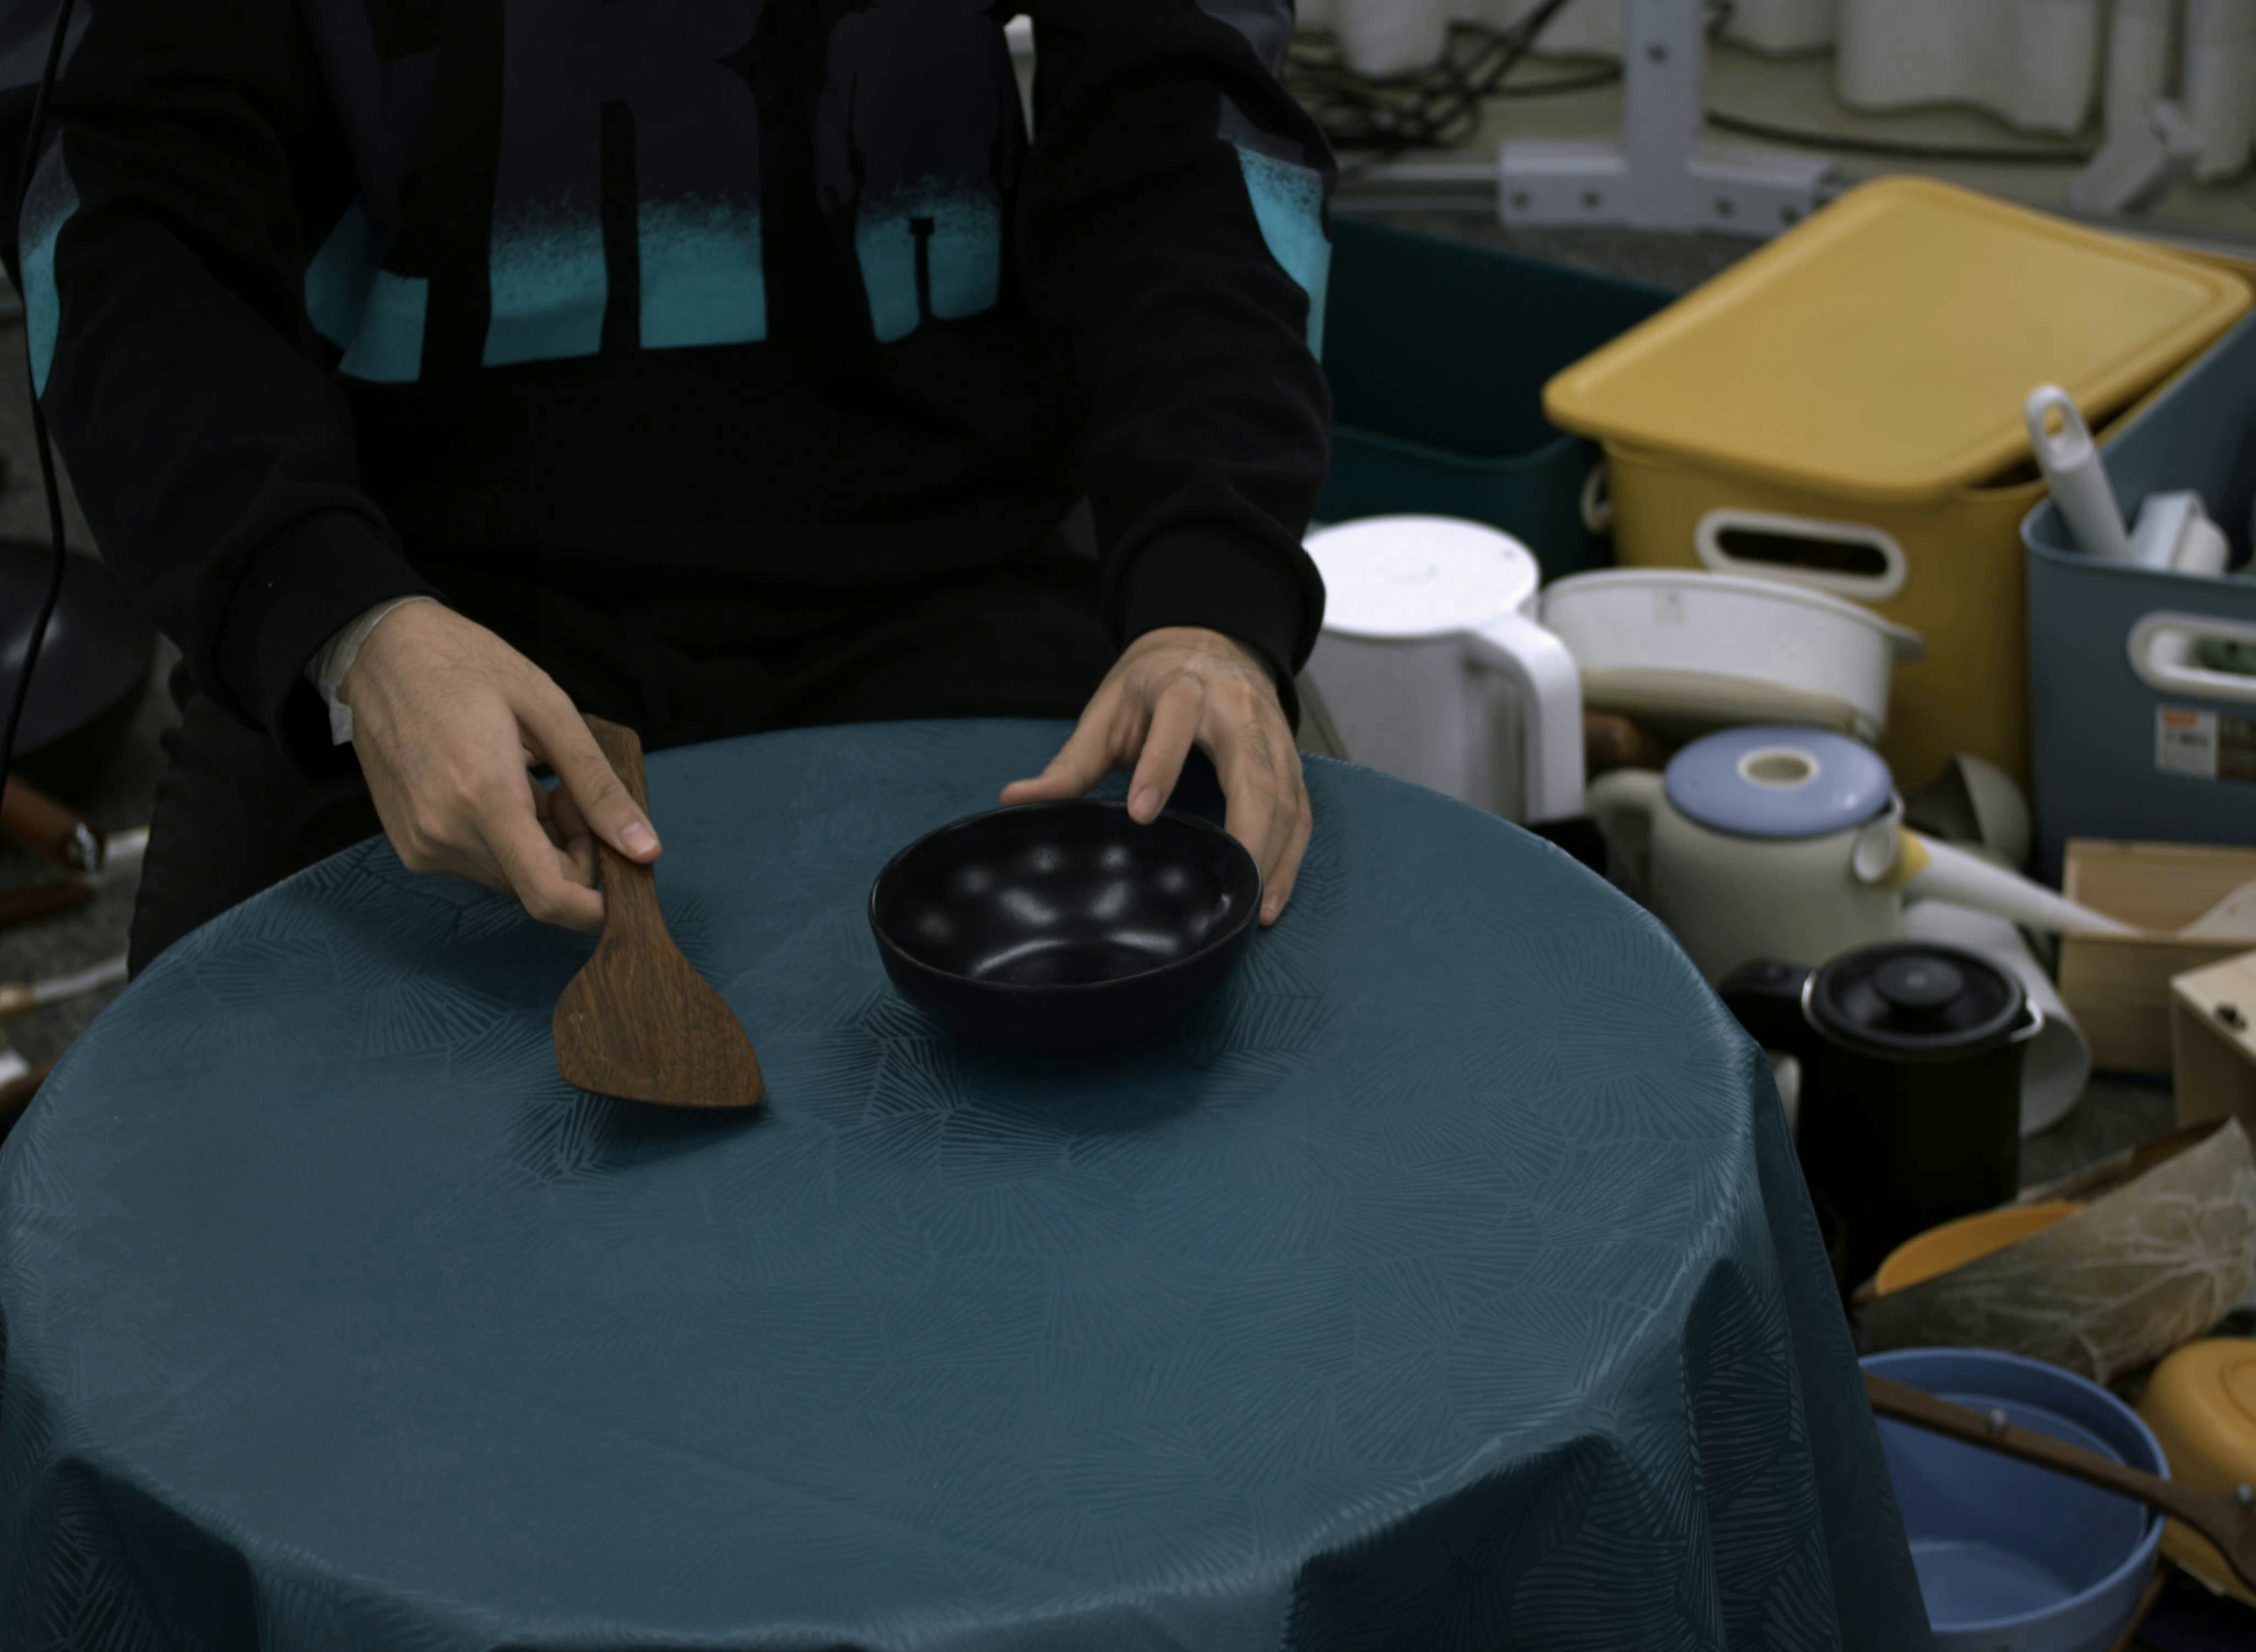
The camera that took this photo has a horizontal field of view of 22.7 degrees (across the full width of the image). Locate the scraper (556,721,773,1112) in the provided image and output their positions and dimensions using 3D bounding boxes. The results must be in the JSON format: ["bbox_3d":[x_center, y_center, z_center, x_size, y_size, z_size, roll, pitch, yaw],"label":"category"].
[{"bbox_3d":[-0.172,0.031,1.976,0.076,0.010,0.215,9,36,-19],"label":"scraper"}]

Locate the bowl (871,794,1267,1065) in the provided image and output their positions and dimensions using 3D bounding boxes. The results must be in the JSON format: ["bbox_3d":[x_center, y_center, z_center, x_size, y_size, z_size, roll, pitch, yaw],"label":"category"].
[{"bbox_3d":[-0.018,0.044,1.960,0.139,0.049,0.142,-4,29,3],"label":"bowl"}]
